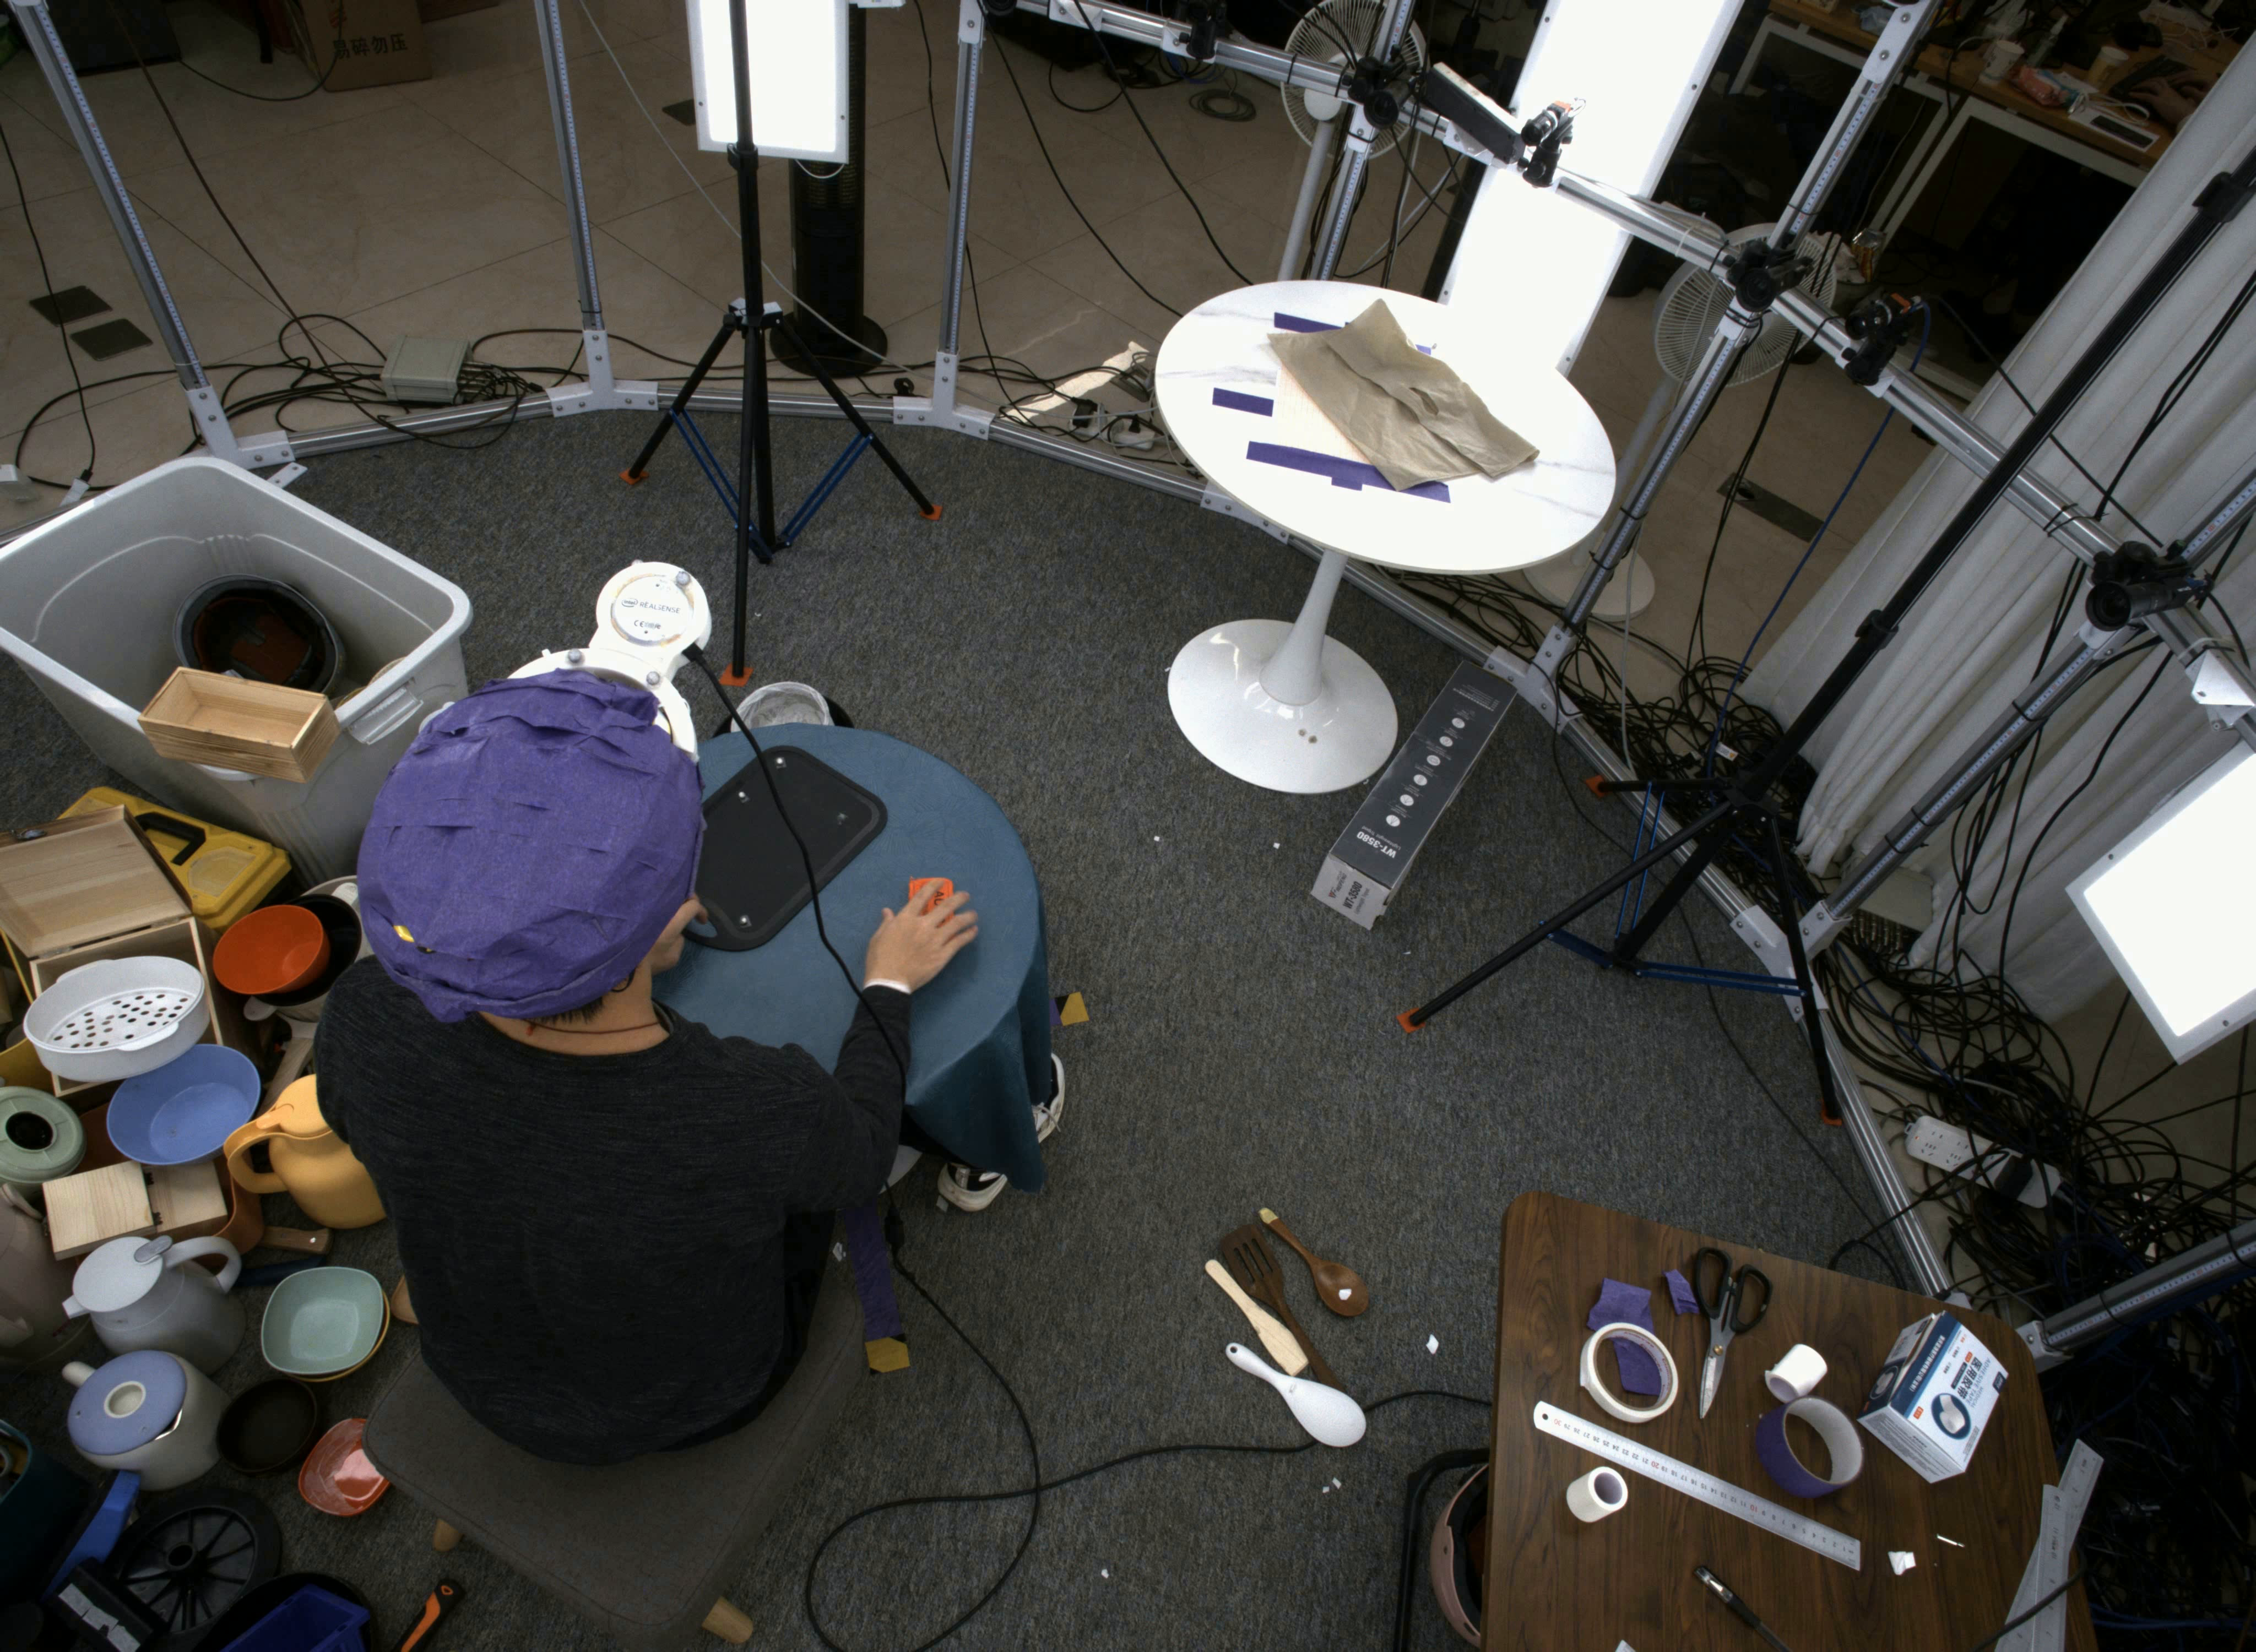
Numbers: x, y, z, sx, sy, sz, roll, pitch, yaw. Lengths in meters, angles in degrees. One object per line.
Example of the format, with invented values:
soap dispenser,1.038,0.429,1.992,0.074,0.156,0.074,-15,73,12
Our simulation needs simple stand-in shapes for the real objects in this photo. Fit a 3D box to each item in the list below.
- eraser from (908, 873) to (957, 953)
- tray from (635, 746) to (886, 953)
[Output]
eraser,-0.250,0.109,1.659,0.059,0.023,0.106,-1,54,-13
tray,-0.478,0.026,1.681,0.207,0.010,0.324,32,53,10
